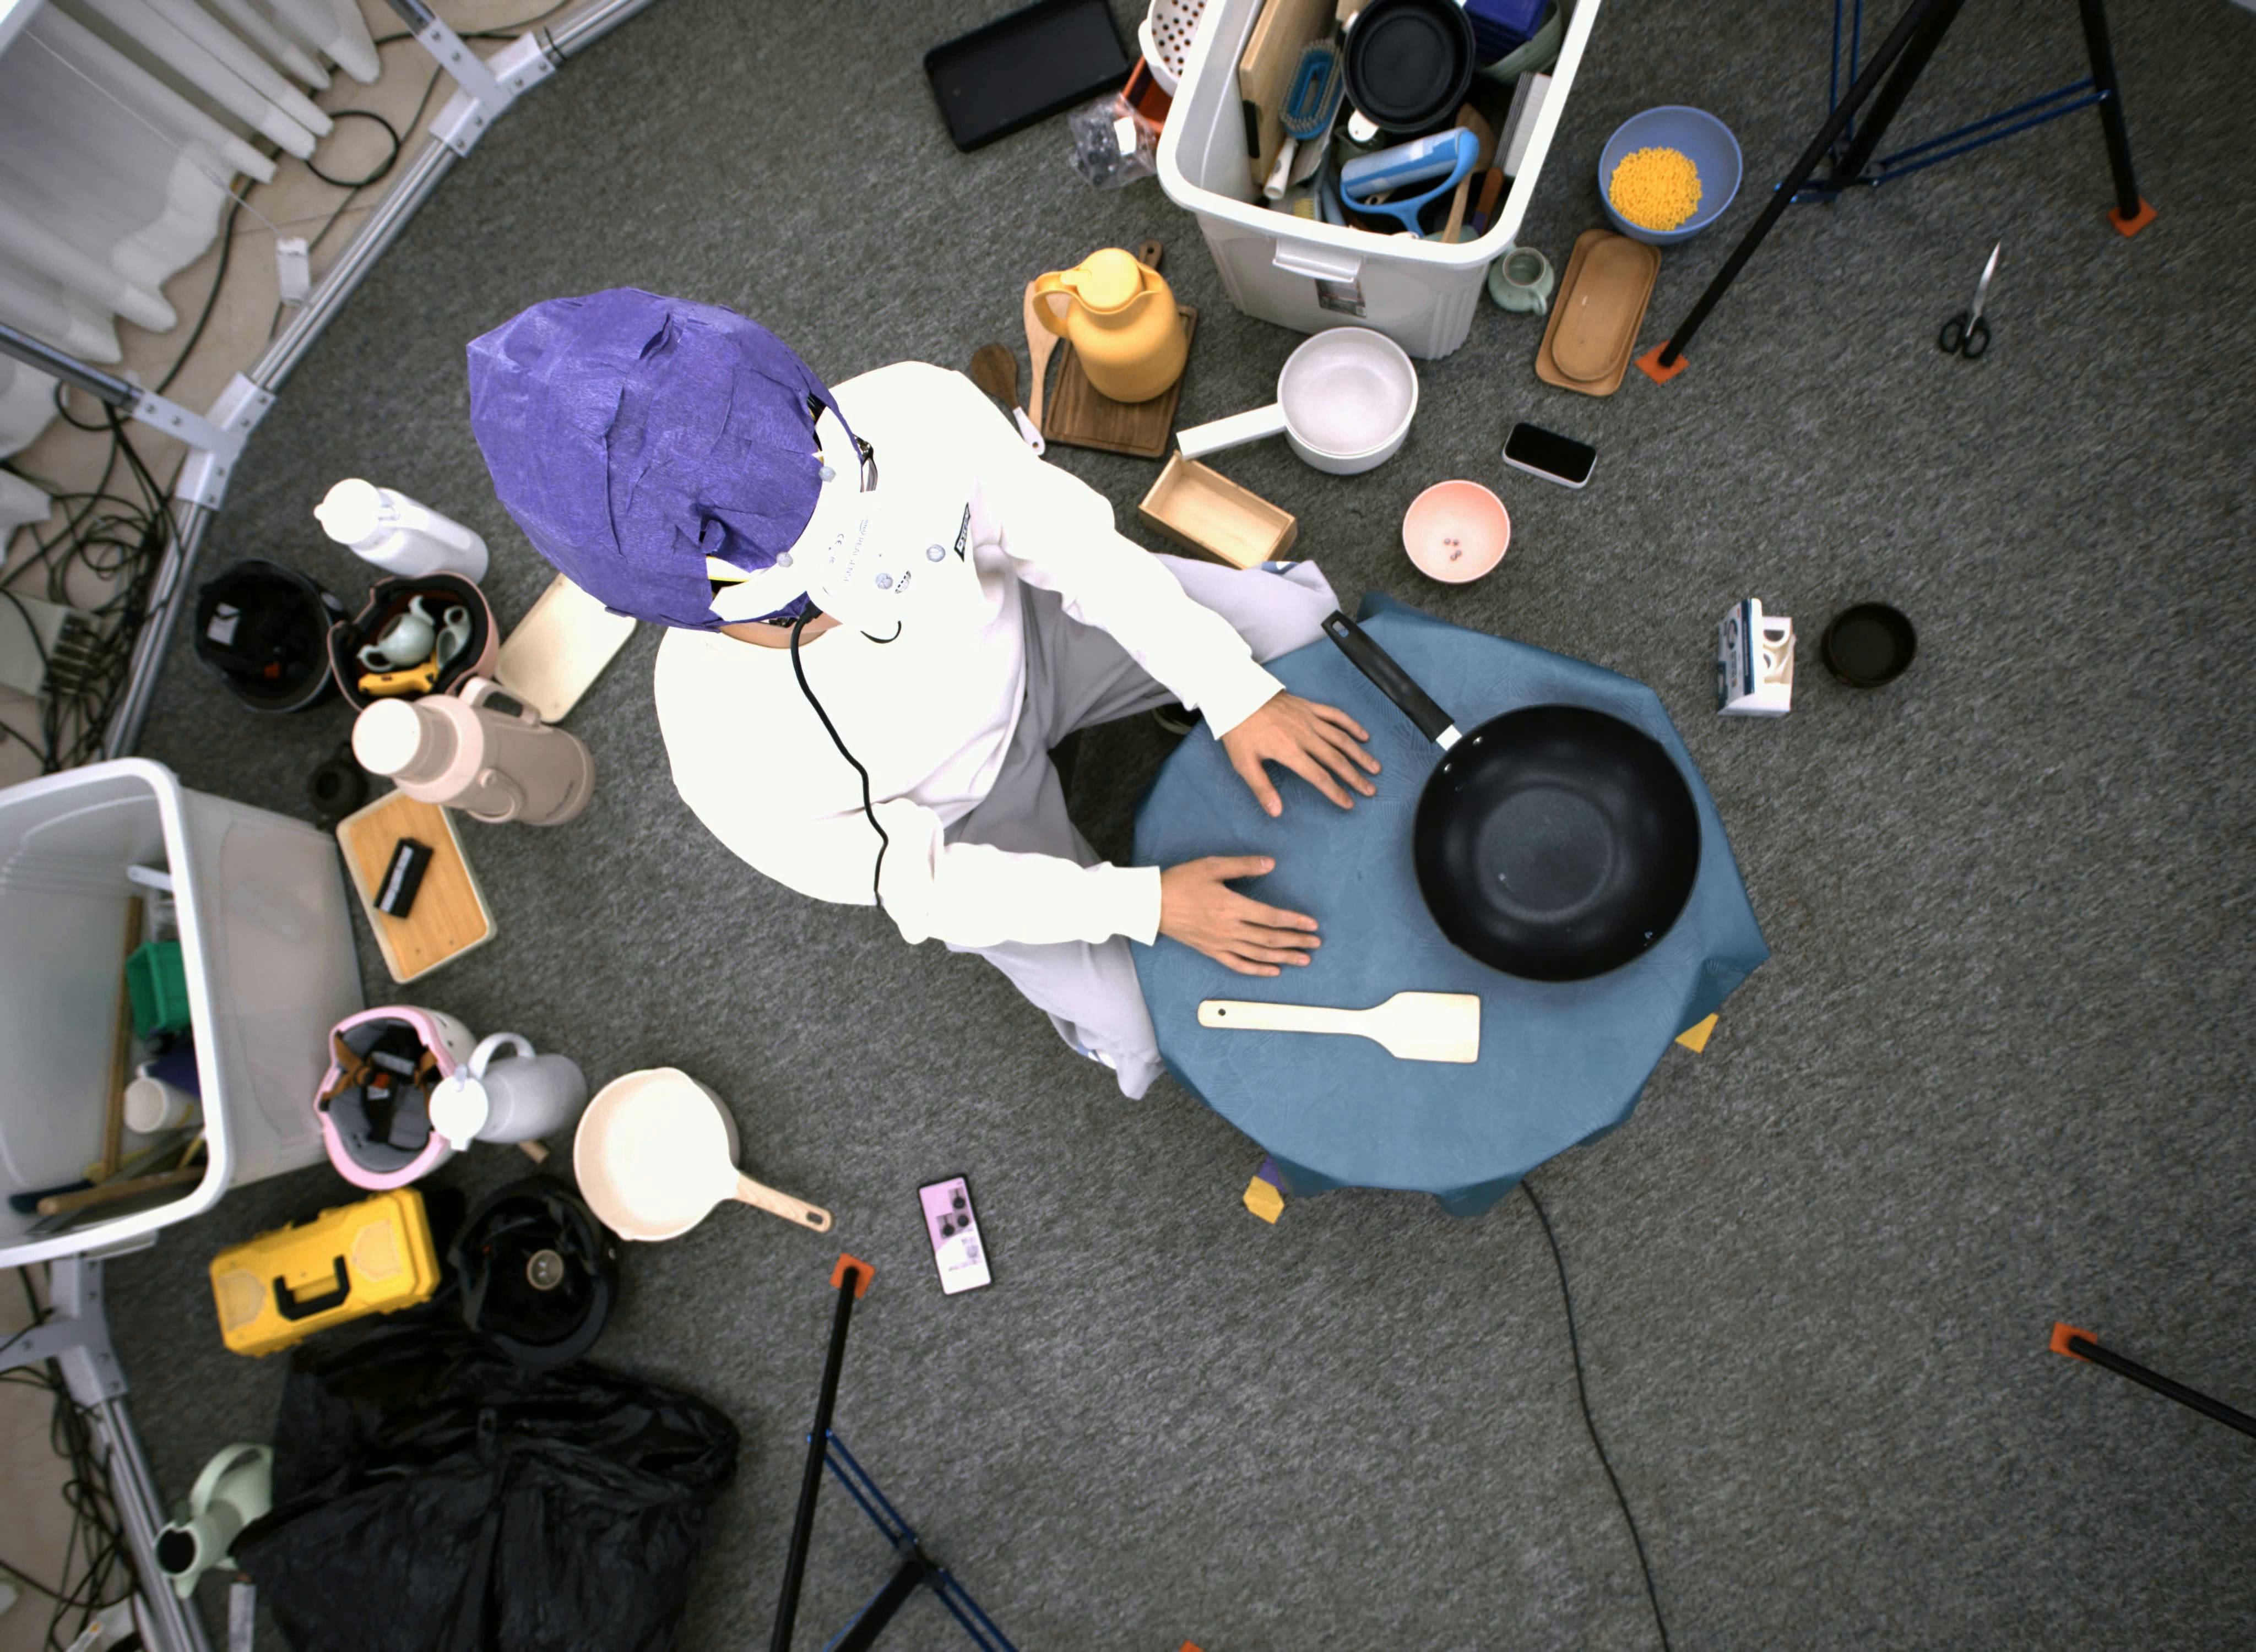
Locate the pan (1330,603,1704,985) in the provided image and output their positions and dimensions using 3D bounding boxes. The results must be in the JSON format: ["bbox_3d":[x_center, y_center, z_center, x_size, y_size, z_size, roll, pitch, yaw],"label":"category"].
[{"bbox_3d":[0.368,-0.048,1.406,0.289,0.087,0.461,-43,79,5],"label":"pan"}]

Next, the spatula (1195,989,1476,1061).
[{"bbox_3d":[0.216,0.202,1.458,0.294,0.010,0.072,2,88,11],"label":"spatula"}]
